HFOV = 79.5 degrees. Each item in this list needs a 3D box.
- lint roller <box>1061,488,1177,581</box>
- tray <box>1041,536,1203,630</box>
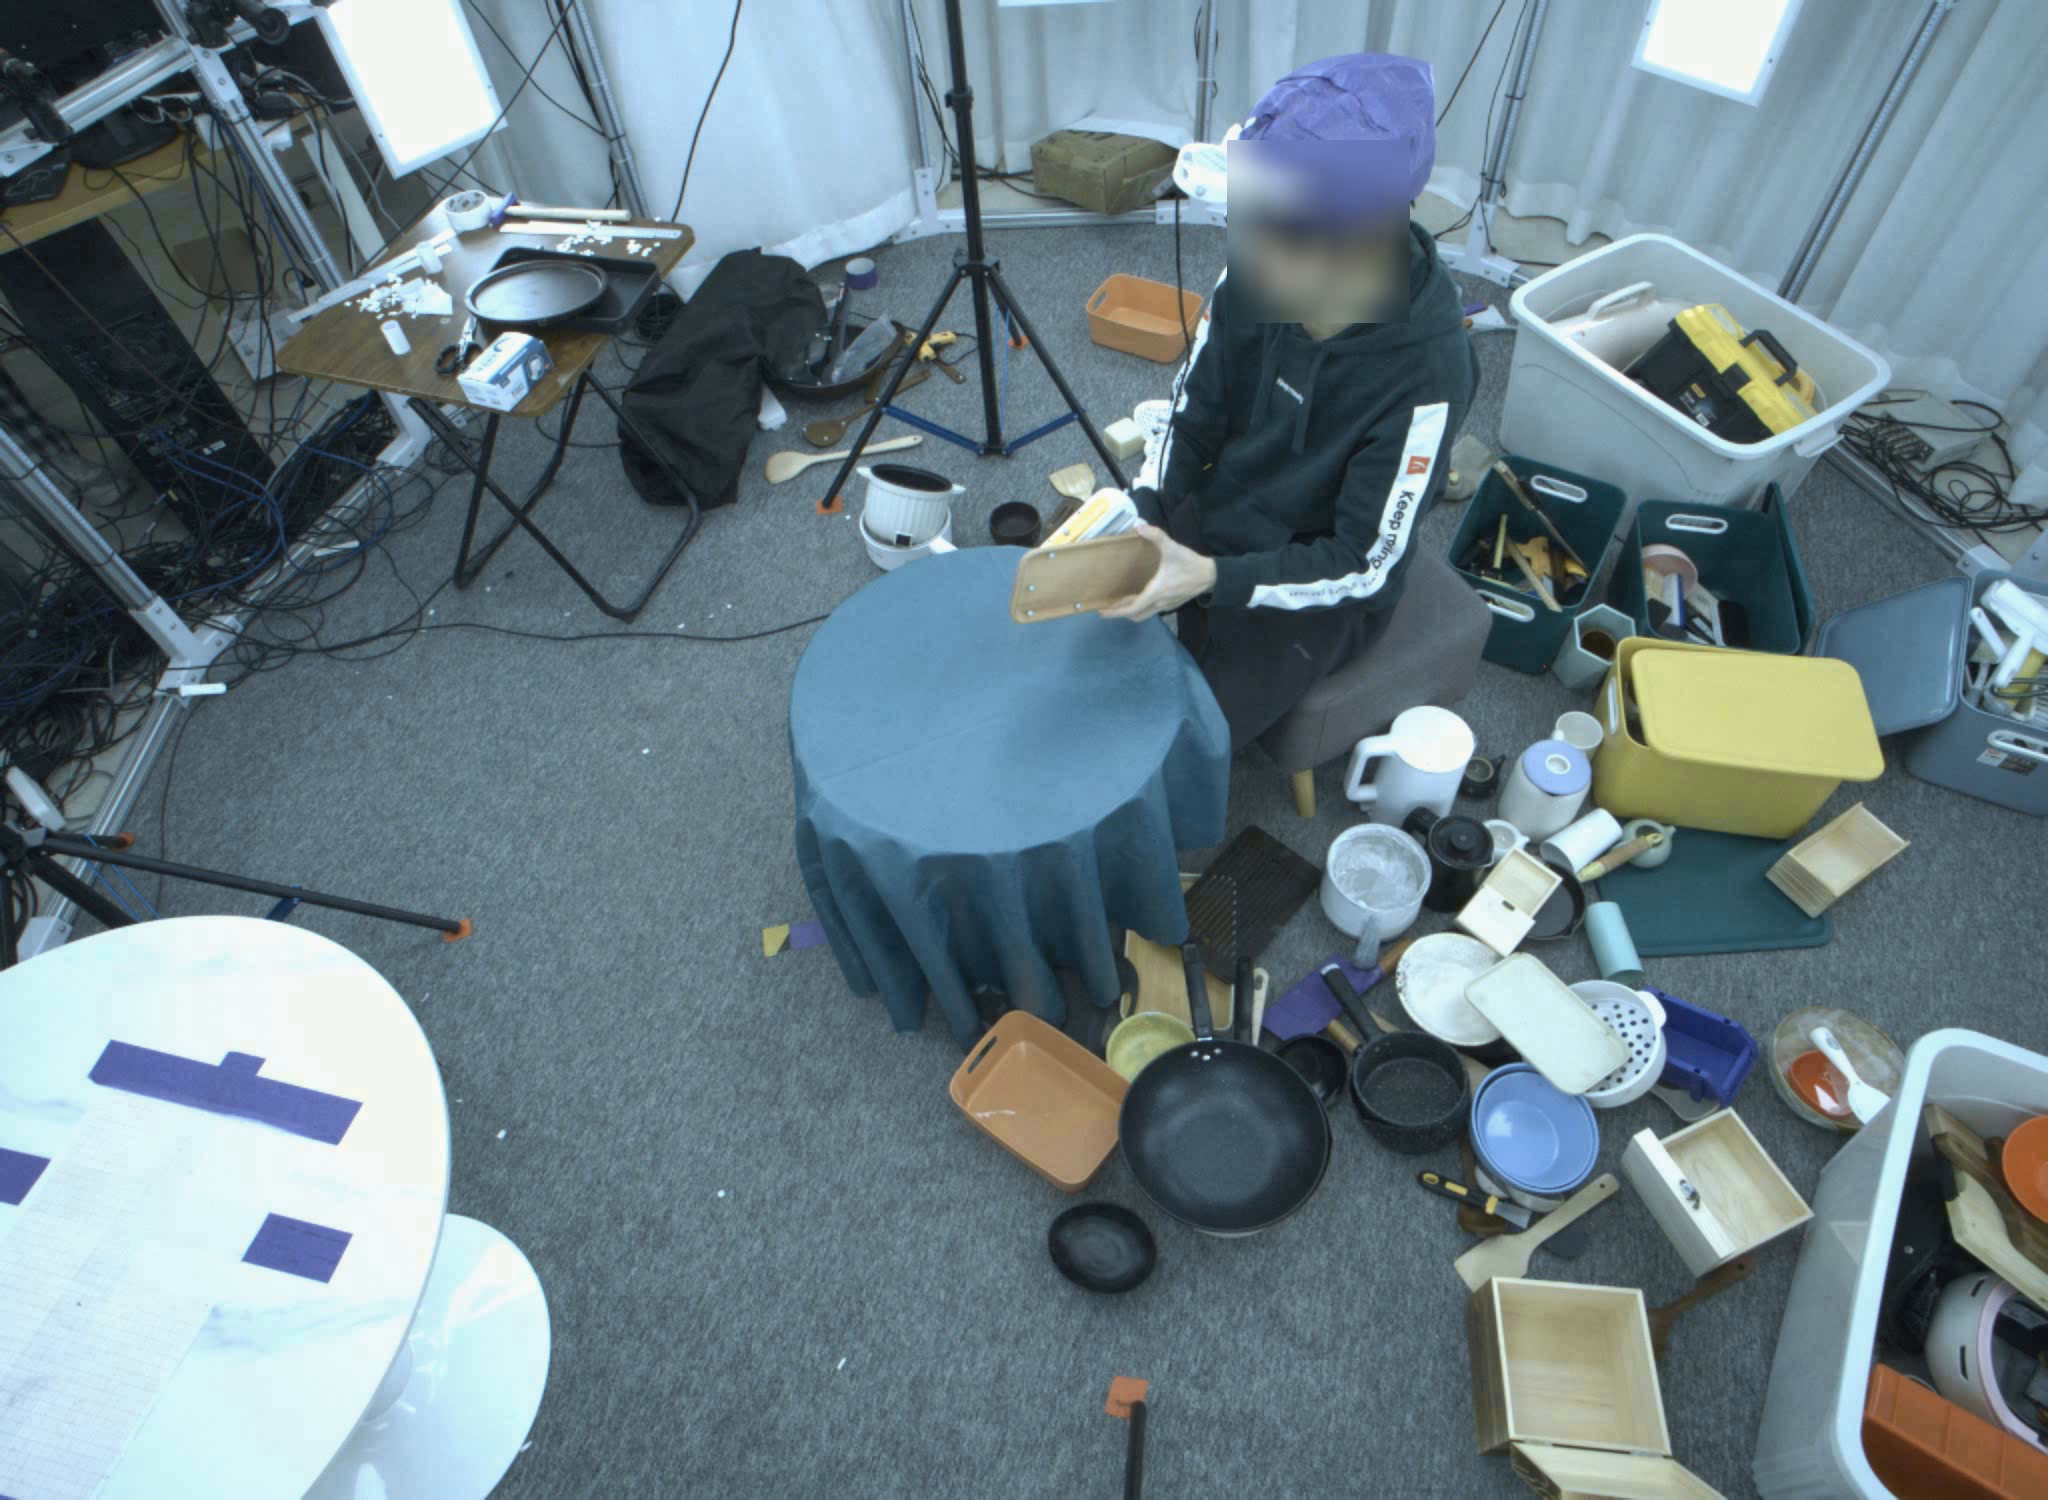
[{"bbox_3d":[0.148,-0.279,1.787,0.192,0.196,0.073,-45,62,4],"label":"lint roller"},{"bbox_3d":[0.138,-0.238,1.736,0.255,0.131,0.022,-13,51,-29],"label":"tray"}]
